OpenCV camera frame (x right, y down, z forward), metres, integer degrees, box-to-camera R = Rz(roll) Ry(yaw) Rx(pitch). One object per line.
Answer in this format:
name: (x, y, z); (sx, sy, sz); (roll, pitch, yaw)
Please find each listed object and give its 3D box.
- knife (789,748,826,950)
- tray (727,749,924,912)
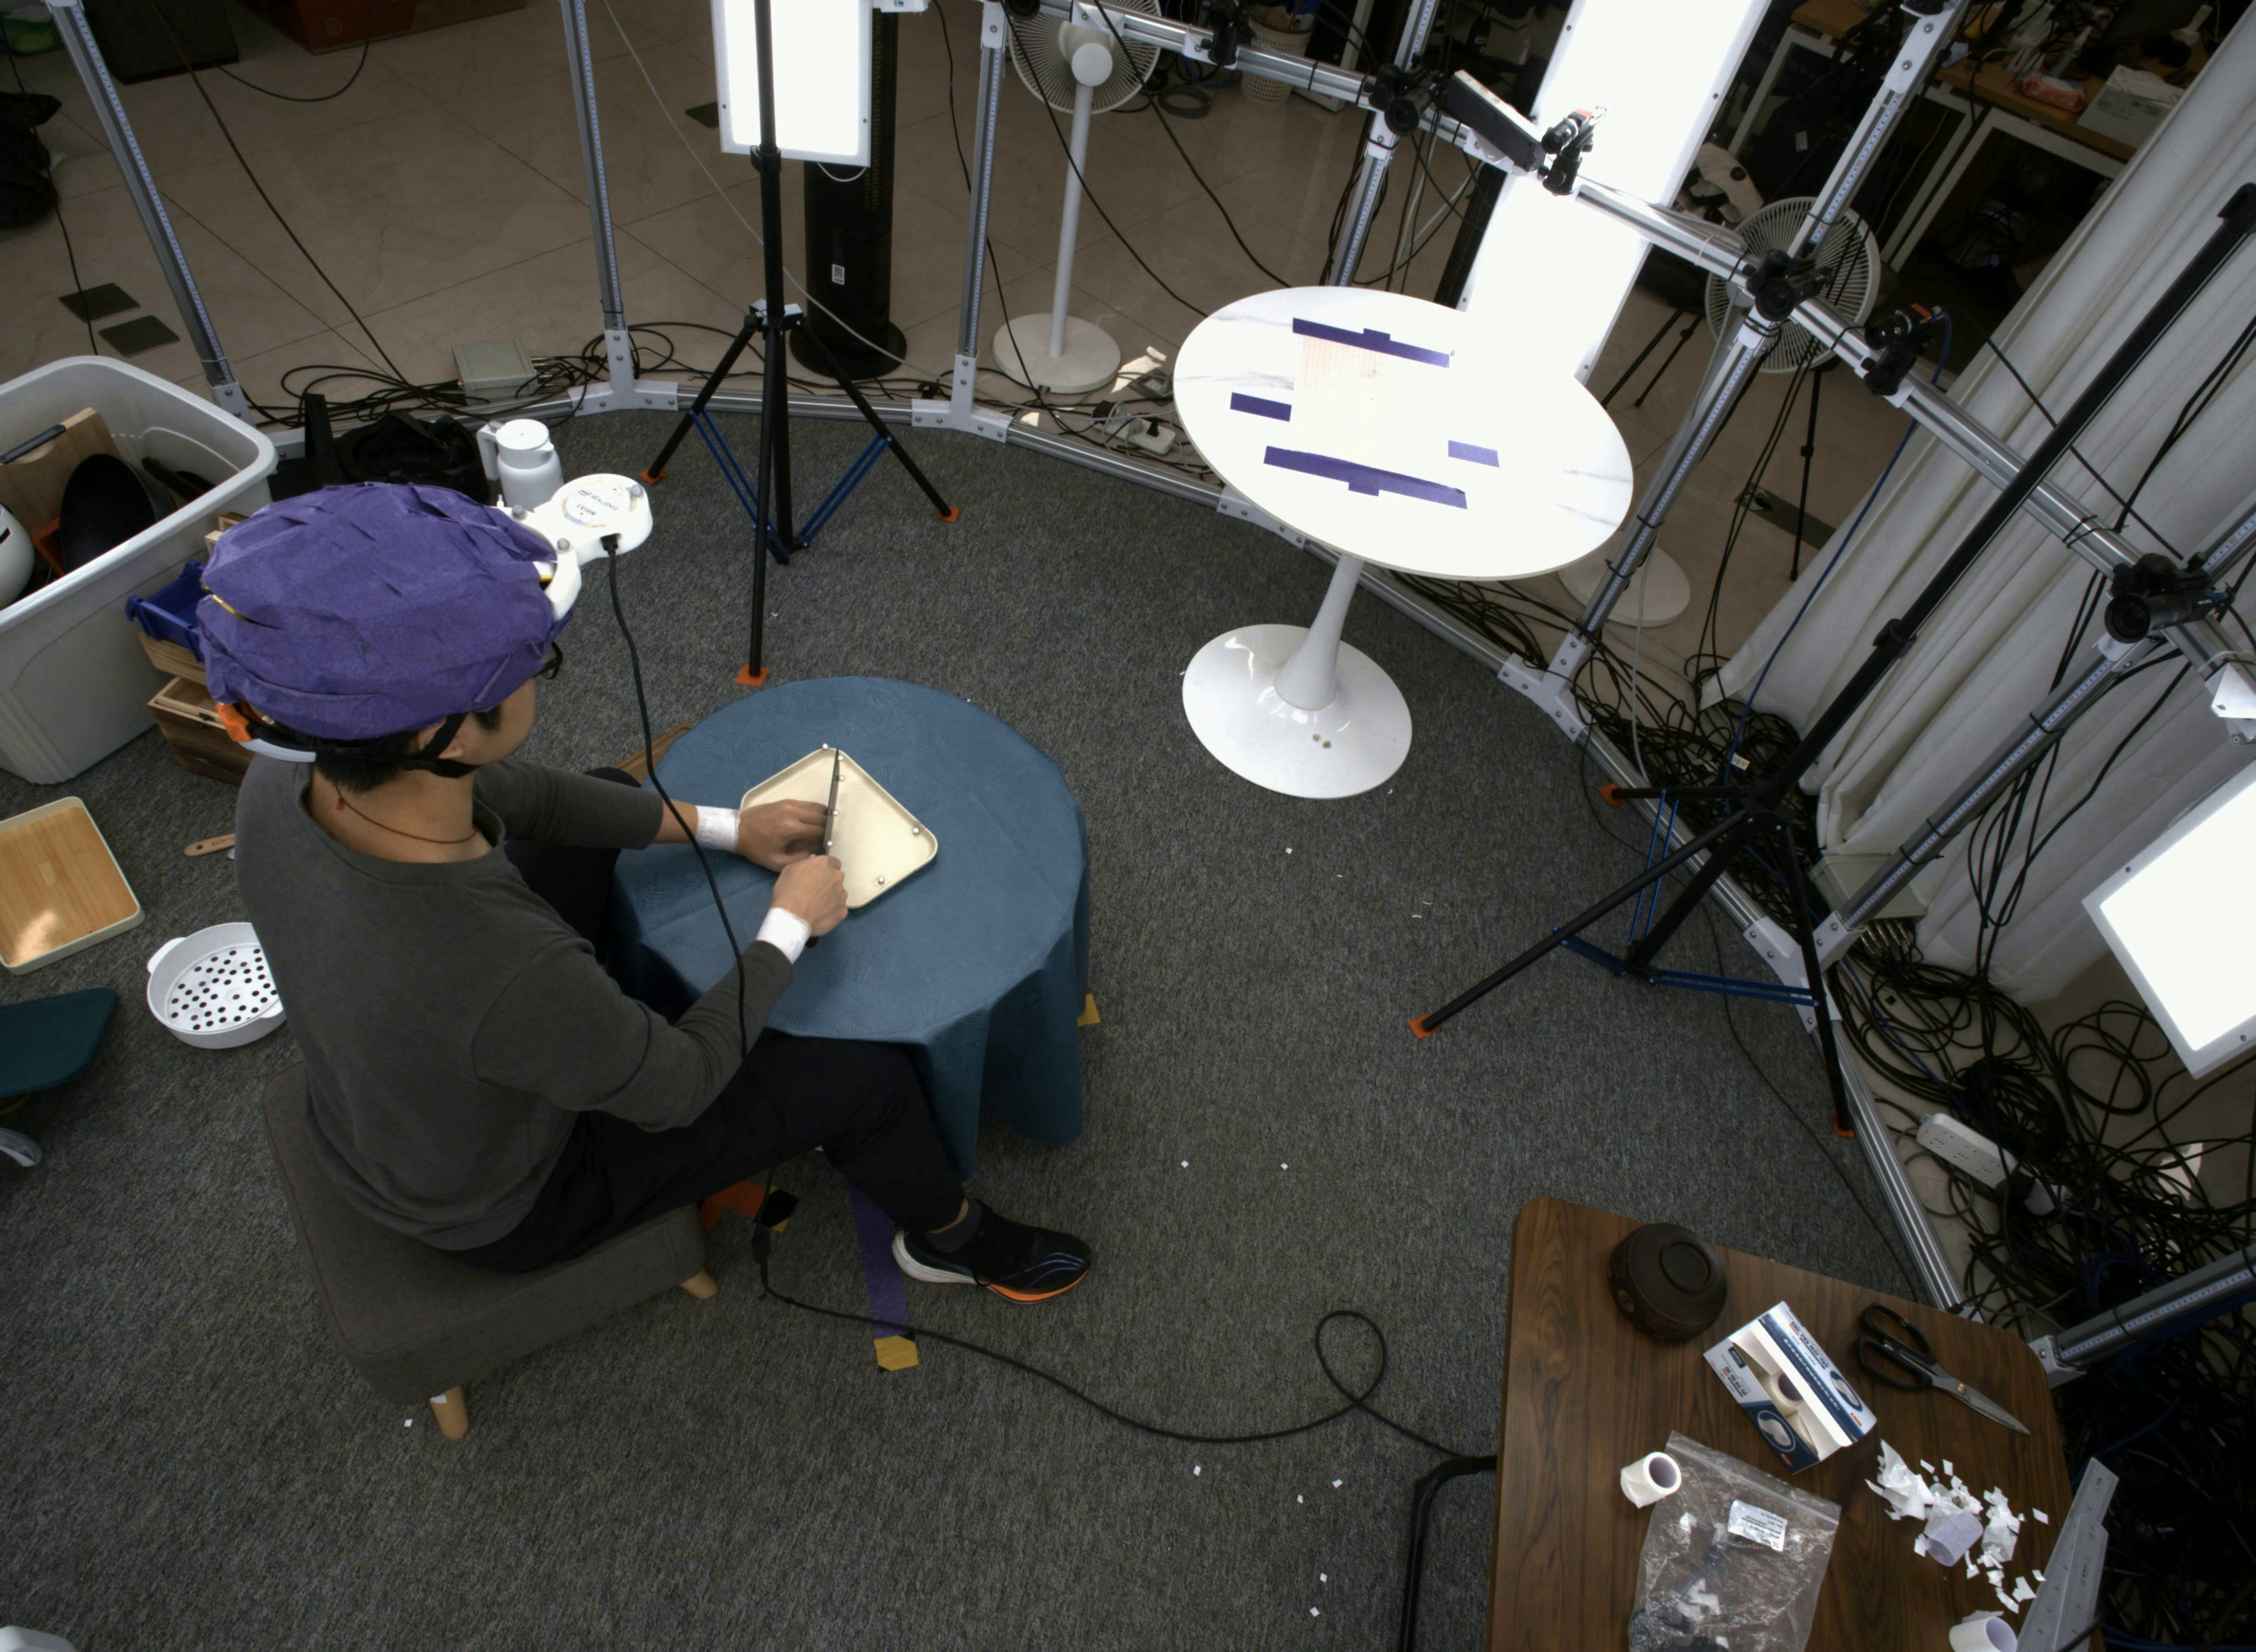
knife: (-0.403, 0.028, 1.648); (0.021, 0.083, 0.296); (2, 48, -6)
tray: (-0.402, 0.003, 1.727); (0.234, 0.018, 0.171); (40, 56, 16)
